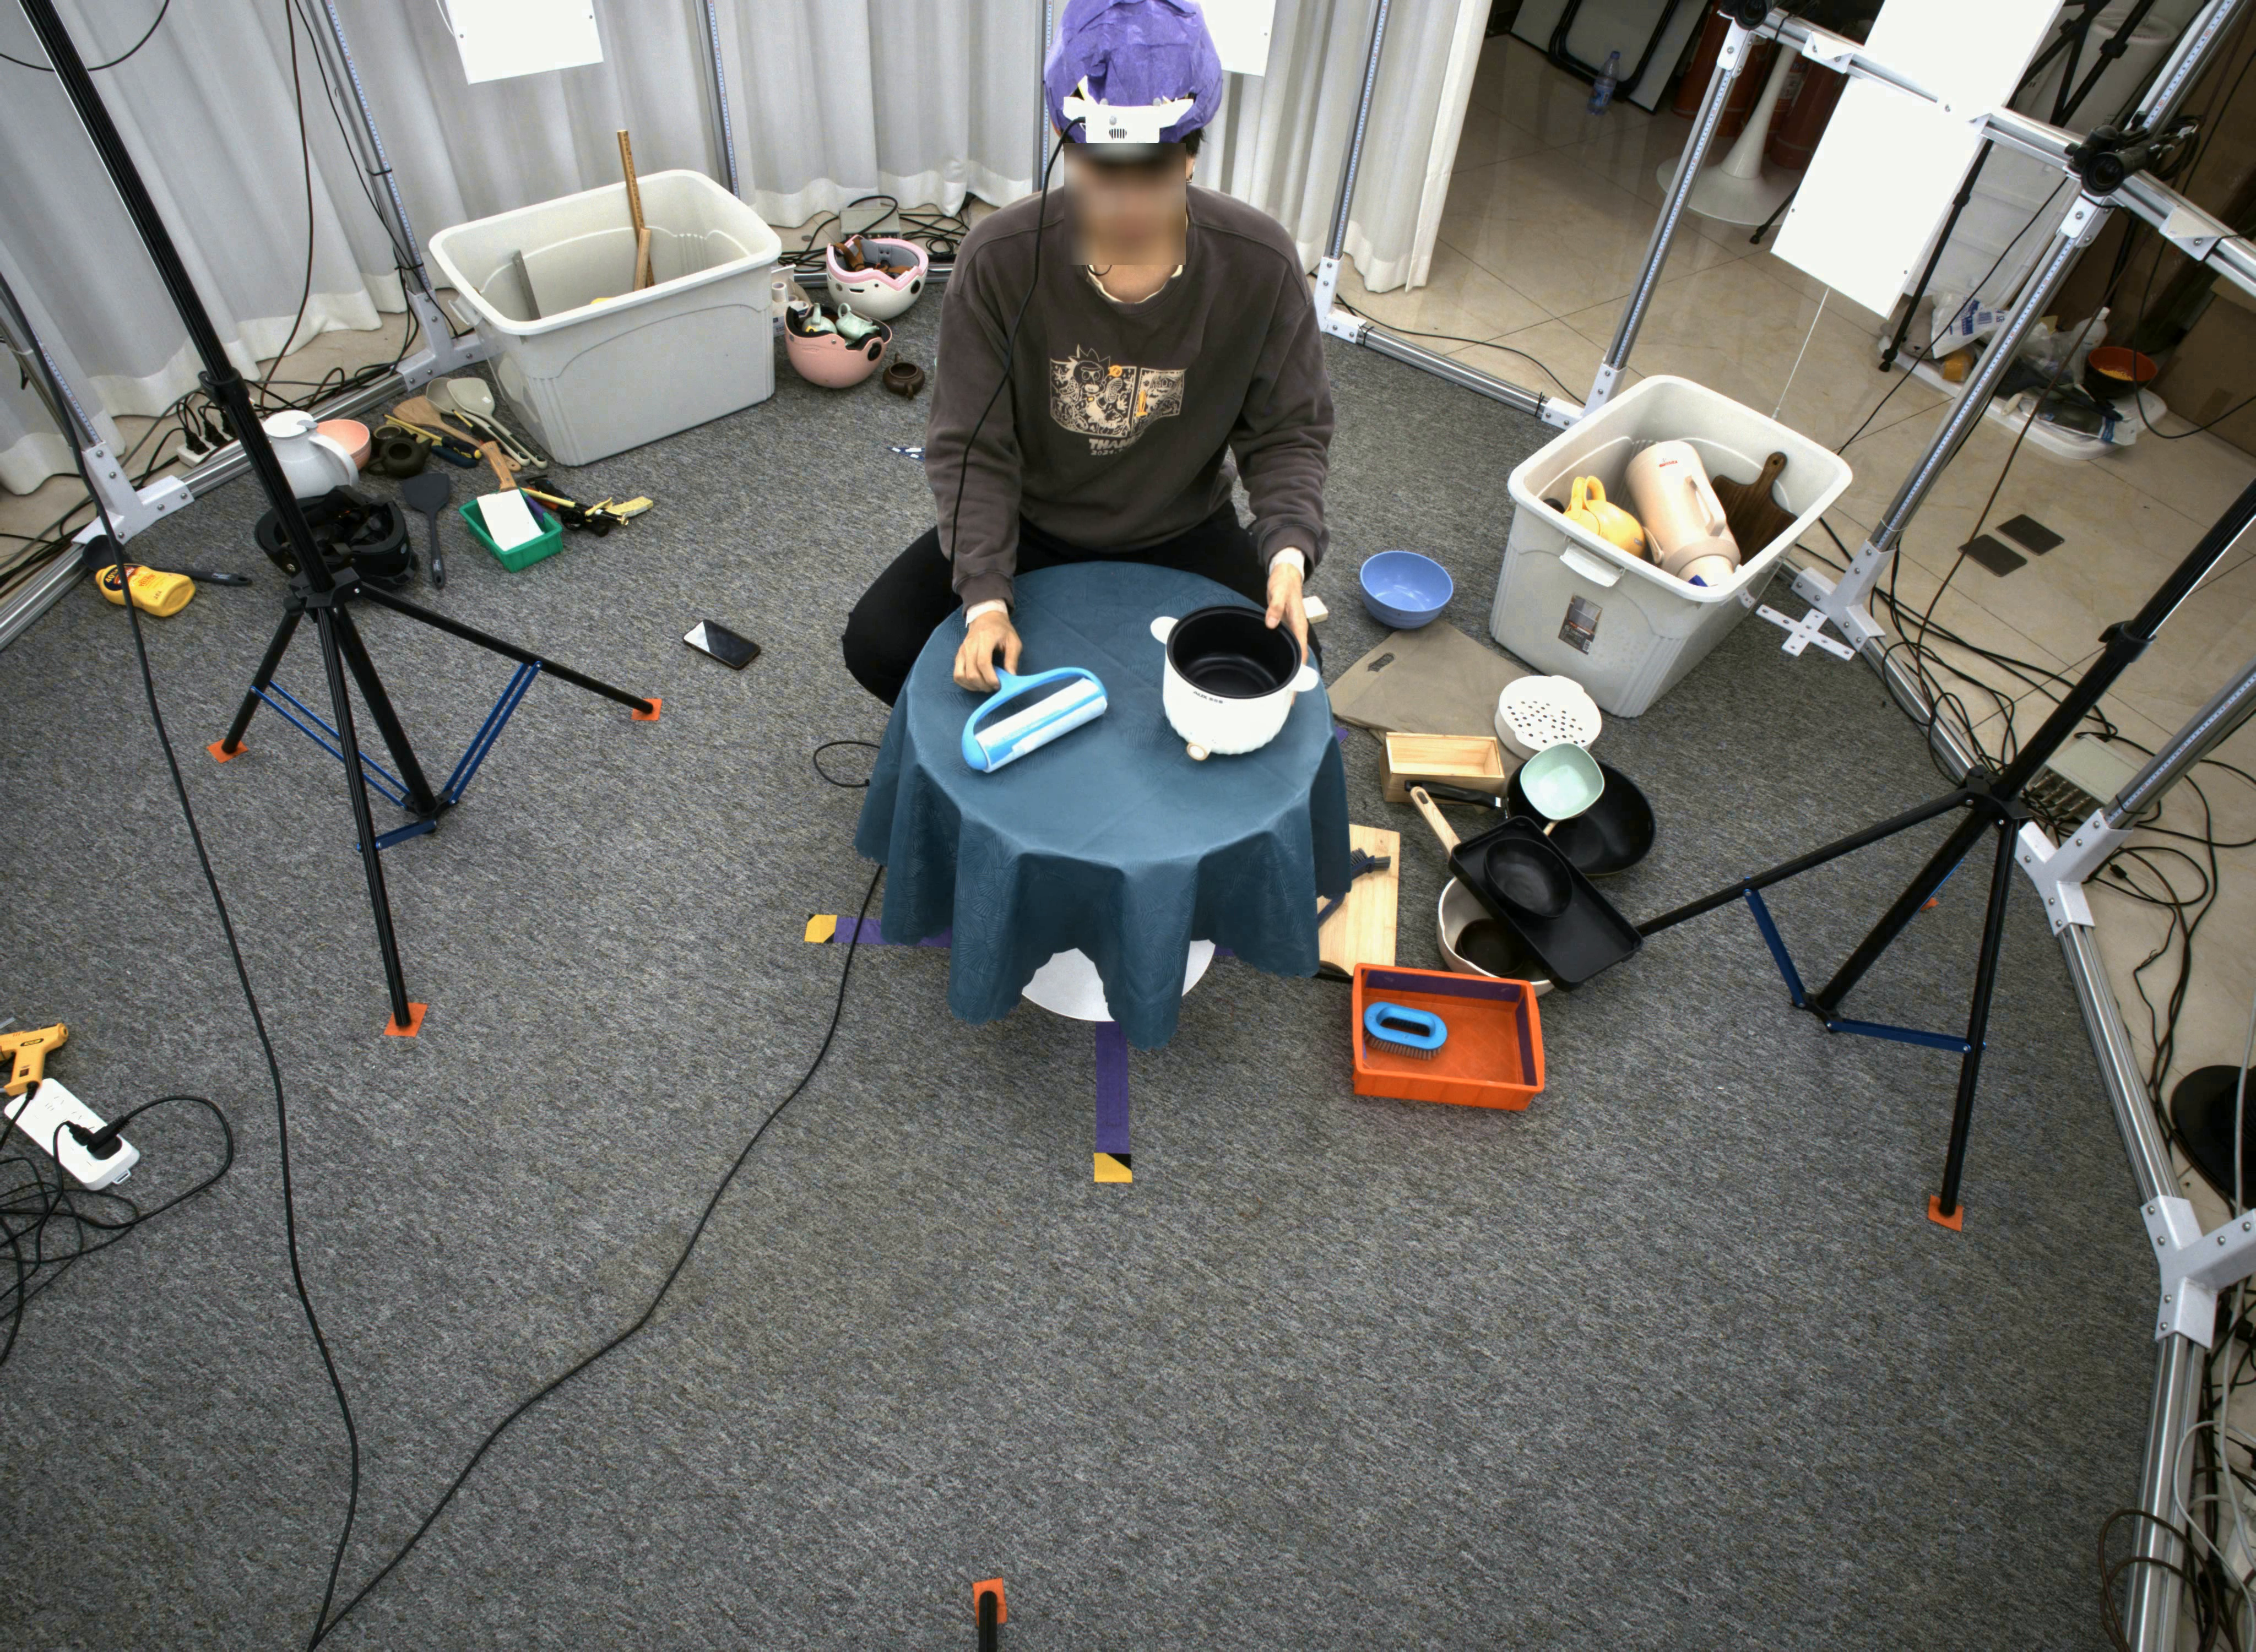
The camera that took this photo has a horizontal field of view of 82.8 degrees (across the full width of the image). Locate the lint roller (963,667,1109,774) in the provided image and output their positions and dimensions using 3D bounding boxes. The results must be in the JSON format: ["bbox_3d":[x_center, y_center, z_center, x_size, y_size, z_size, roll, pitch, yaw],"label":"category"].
[{"bbox_3d":[-0.159,-0.175,1.769,0.230,0.066,0.183,-32,60,-26],"label":"lint roller"}]

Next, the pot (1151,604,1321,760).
[{"bbox_3d":[0.137,-0.189,1.749,0.242,0.139,0.194,20,48,15],"label":"pot"}]
